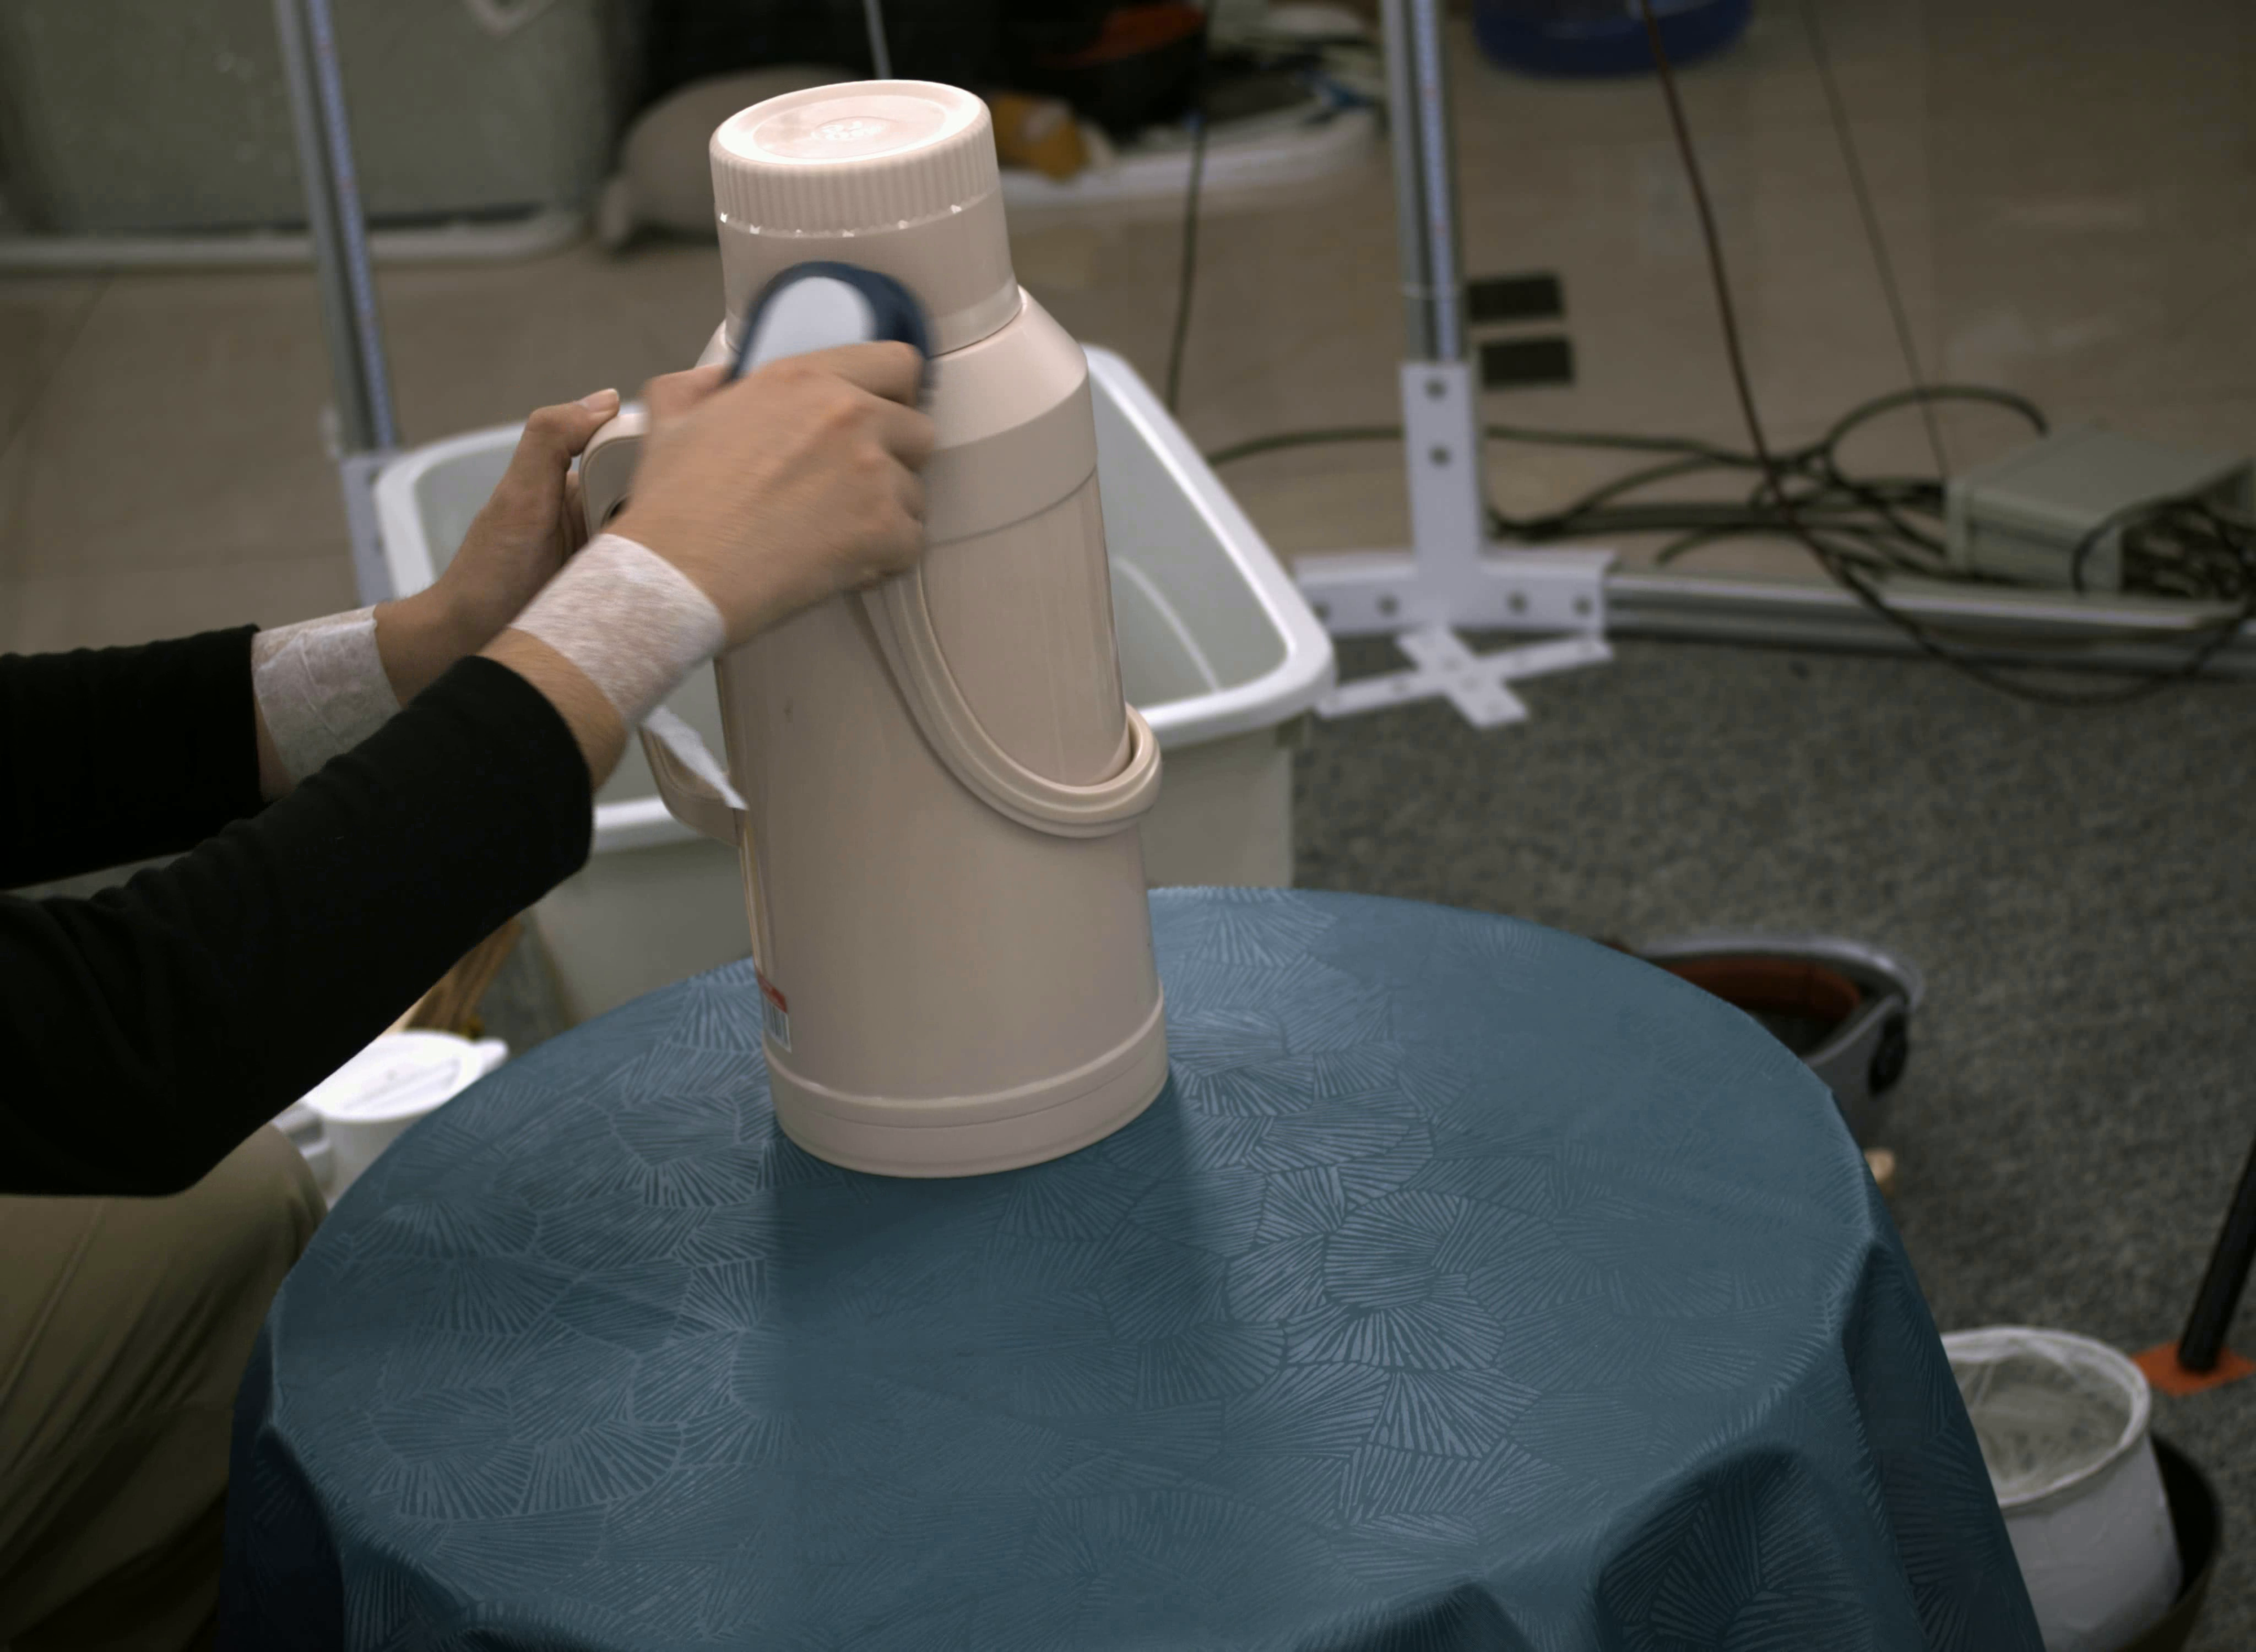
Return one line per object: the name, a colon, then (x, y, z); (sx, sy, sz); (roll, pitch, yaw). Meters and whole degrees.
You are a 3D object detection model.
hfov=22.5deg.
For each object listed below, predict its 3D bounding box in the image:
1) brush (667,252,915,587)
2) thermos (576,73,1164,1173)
brush: (-0.118, -0.144, 2.019); (0.067, 0.121, 0.061); (19, -5, 24)
thermos: (-0.097, -0.077, 2.158); (0.207, 0.413, 0.172); (-5, 27, 1)
